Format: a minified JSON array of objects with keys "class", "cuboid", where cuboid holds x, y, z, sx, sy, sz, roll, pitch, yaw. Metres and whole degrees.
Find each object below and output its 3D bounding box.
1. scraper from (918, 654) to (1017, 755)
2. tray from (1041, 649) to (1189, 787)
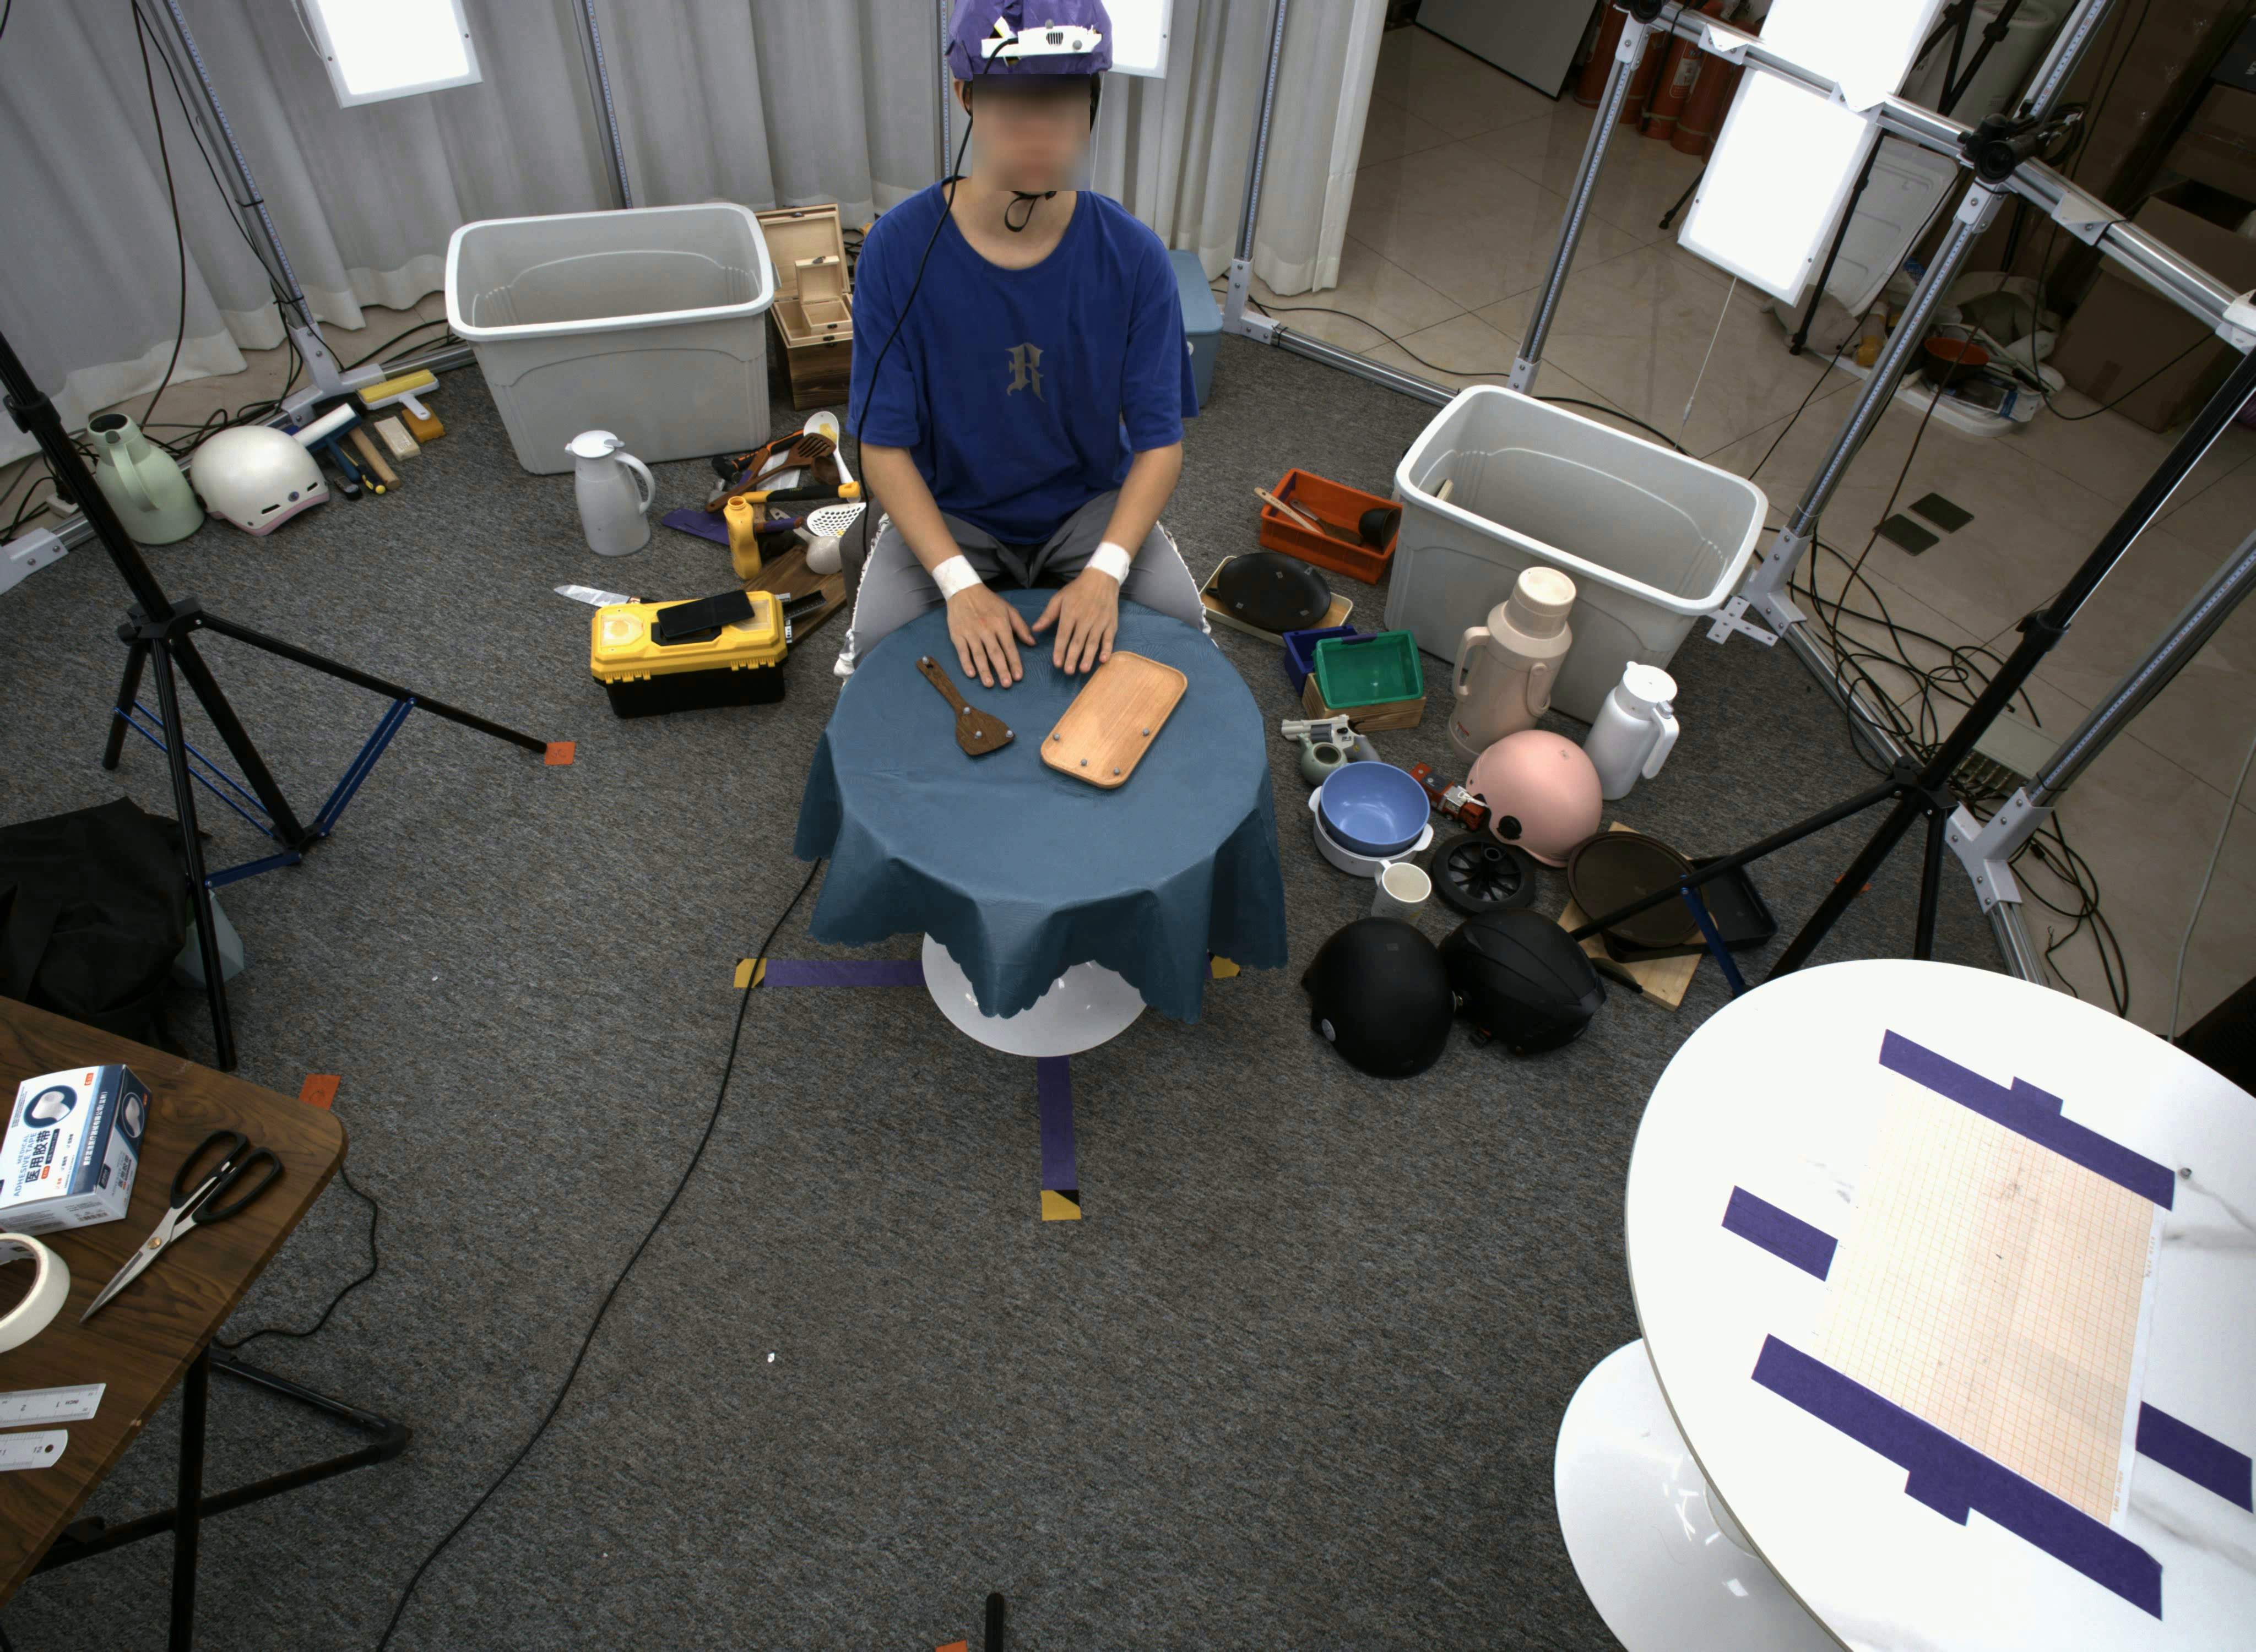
[{"class":"scraper","cuboid":[-0.235,-0.174,1.802,0.076,0.010,0.215,-24,54,-22]},{"class":"tray","cuboid":[-0.015,-0.154,1.794,0.131,0.022,0.255,24,52,13]}]
